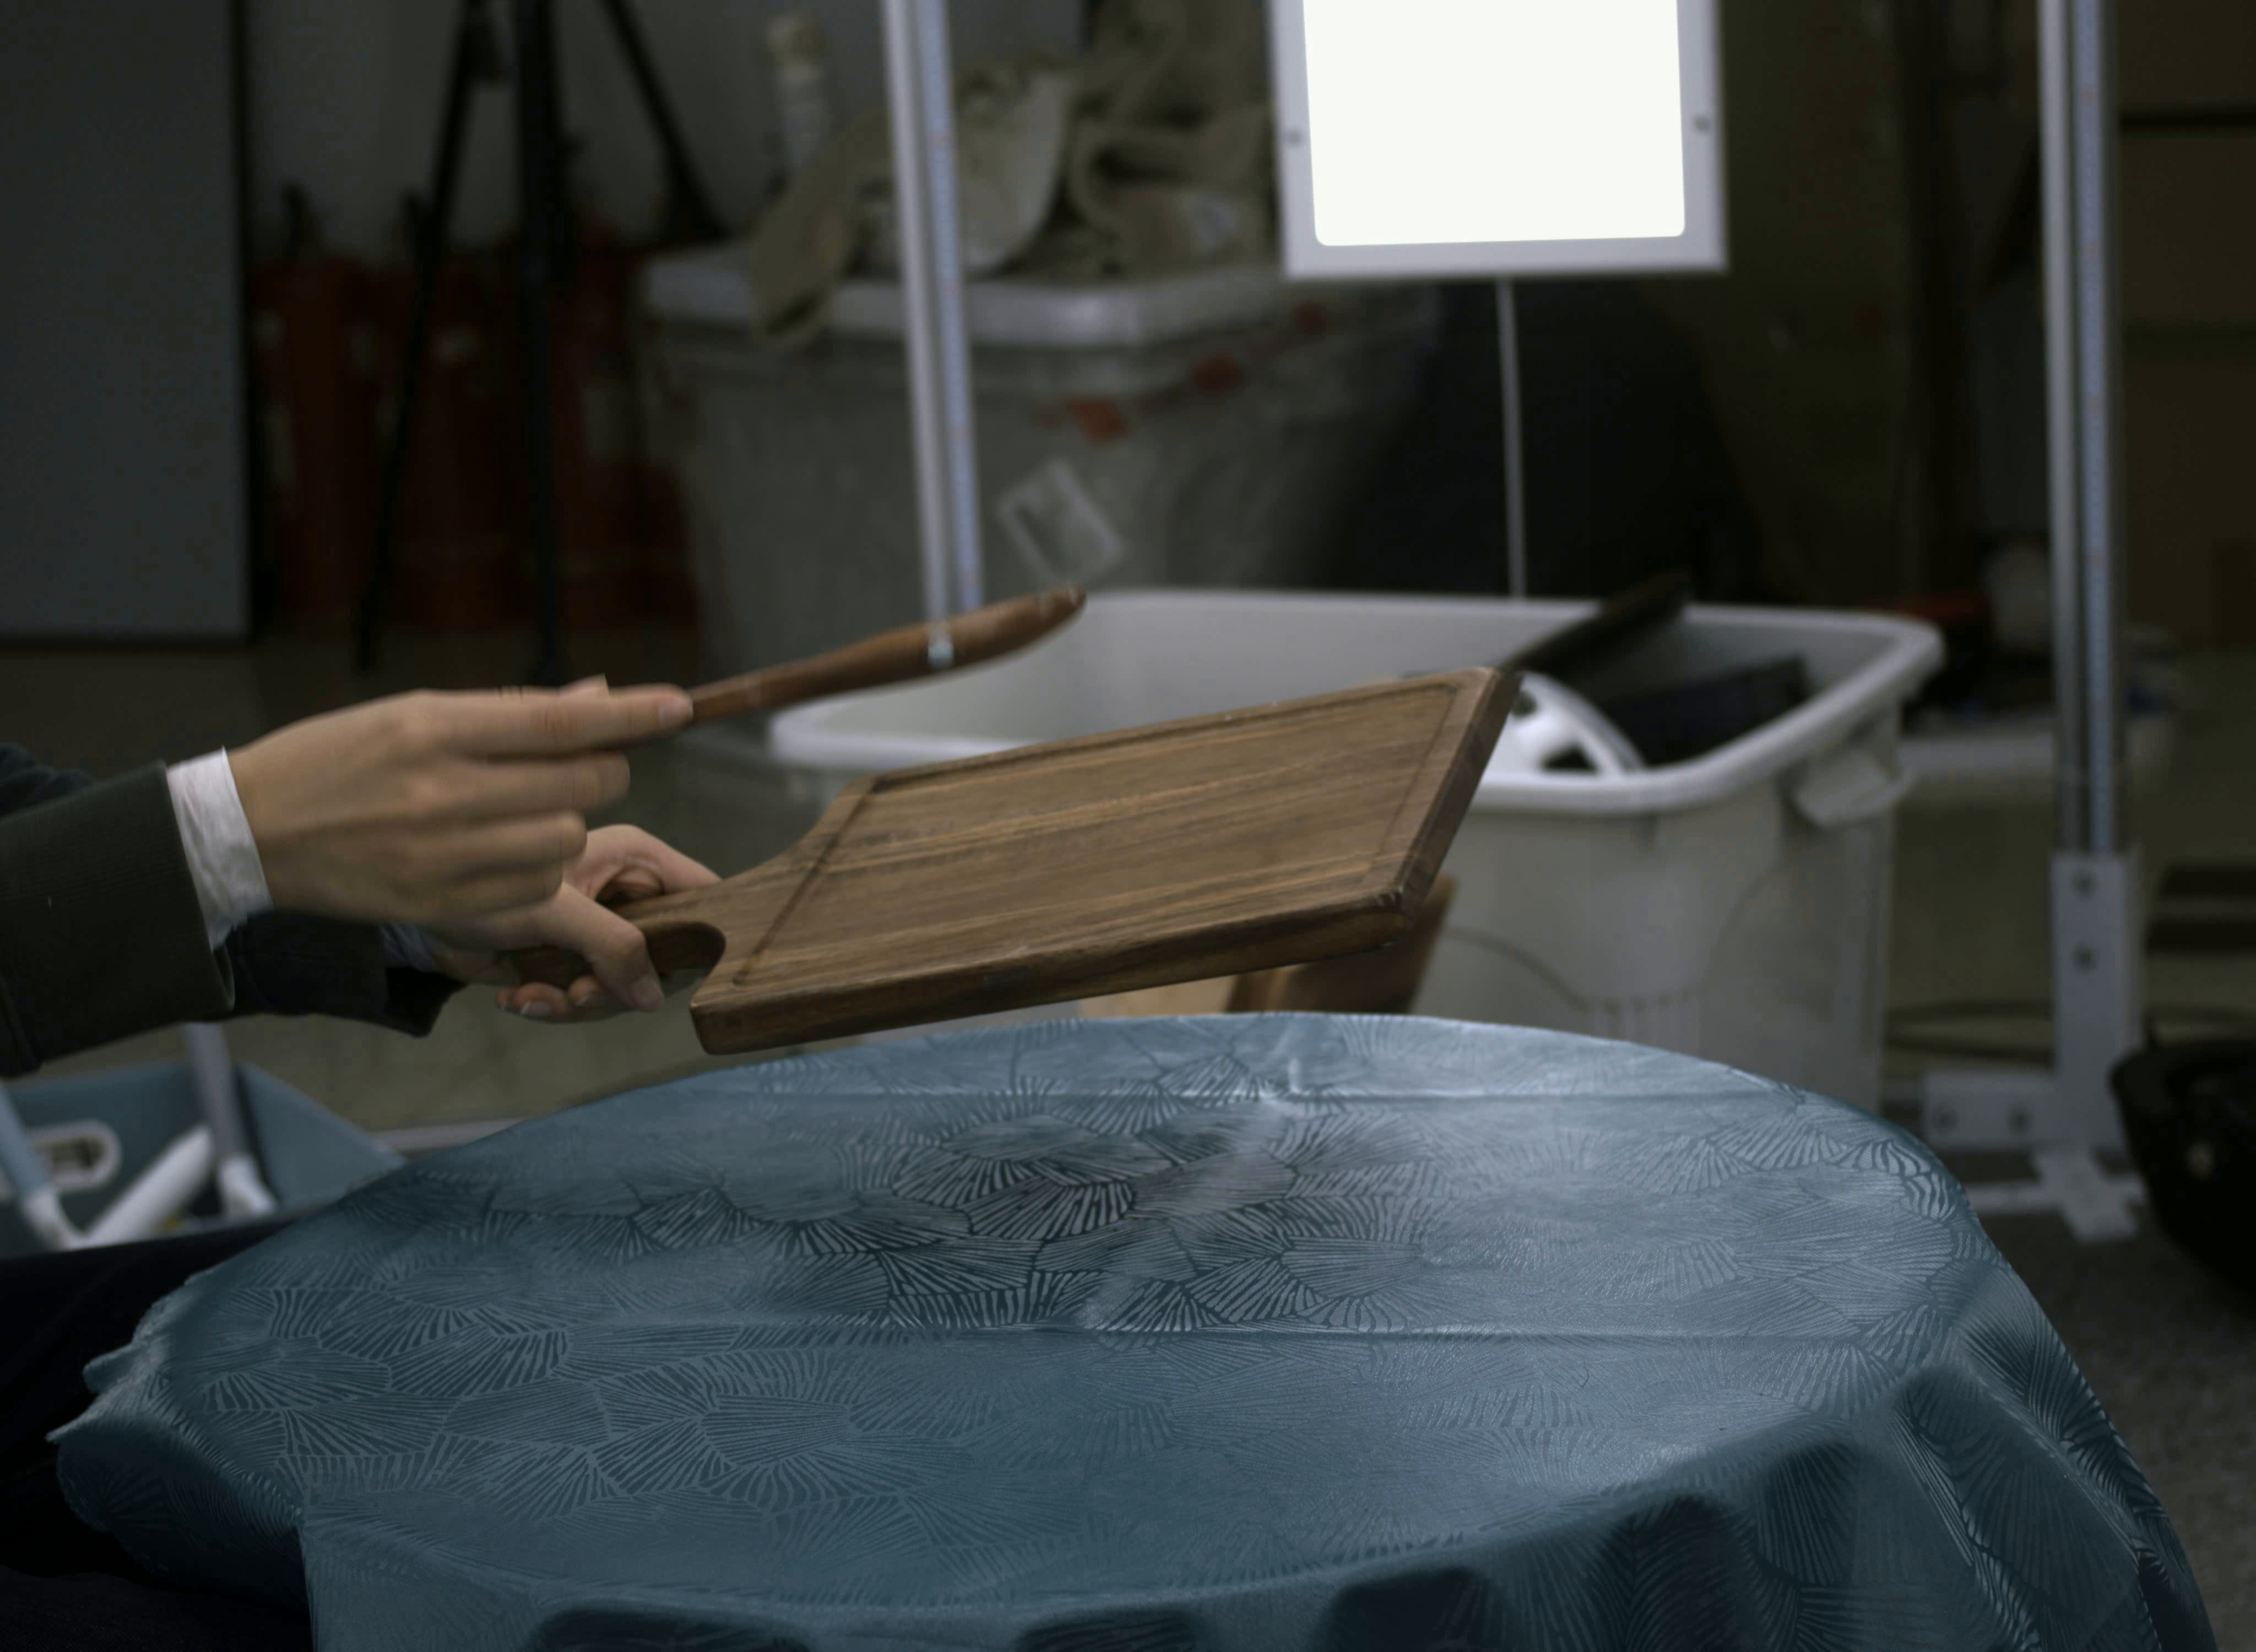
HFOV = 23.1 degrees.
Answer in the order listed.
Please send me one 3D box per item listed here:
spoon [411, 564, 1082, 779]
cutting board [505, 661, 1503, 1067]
[{"bbox_3d":[-0.116,-0.048,1.698,0.214,0.017,0.076,-15,6,-8],"label":"spoon"},{"bbox_3d":[-0.053,0.019,1.886,0.357,0.023,0.198,-10,23,21],"label":"cutting board"}]
